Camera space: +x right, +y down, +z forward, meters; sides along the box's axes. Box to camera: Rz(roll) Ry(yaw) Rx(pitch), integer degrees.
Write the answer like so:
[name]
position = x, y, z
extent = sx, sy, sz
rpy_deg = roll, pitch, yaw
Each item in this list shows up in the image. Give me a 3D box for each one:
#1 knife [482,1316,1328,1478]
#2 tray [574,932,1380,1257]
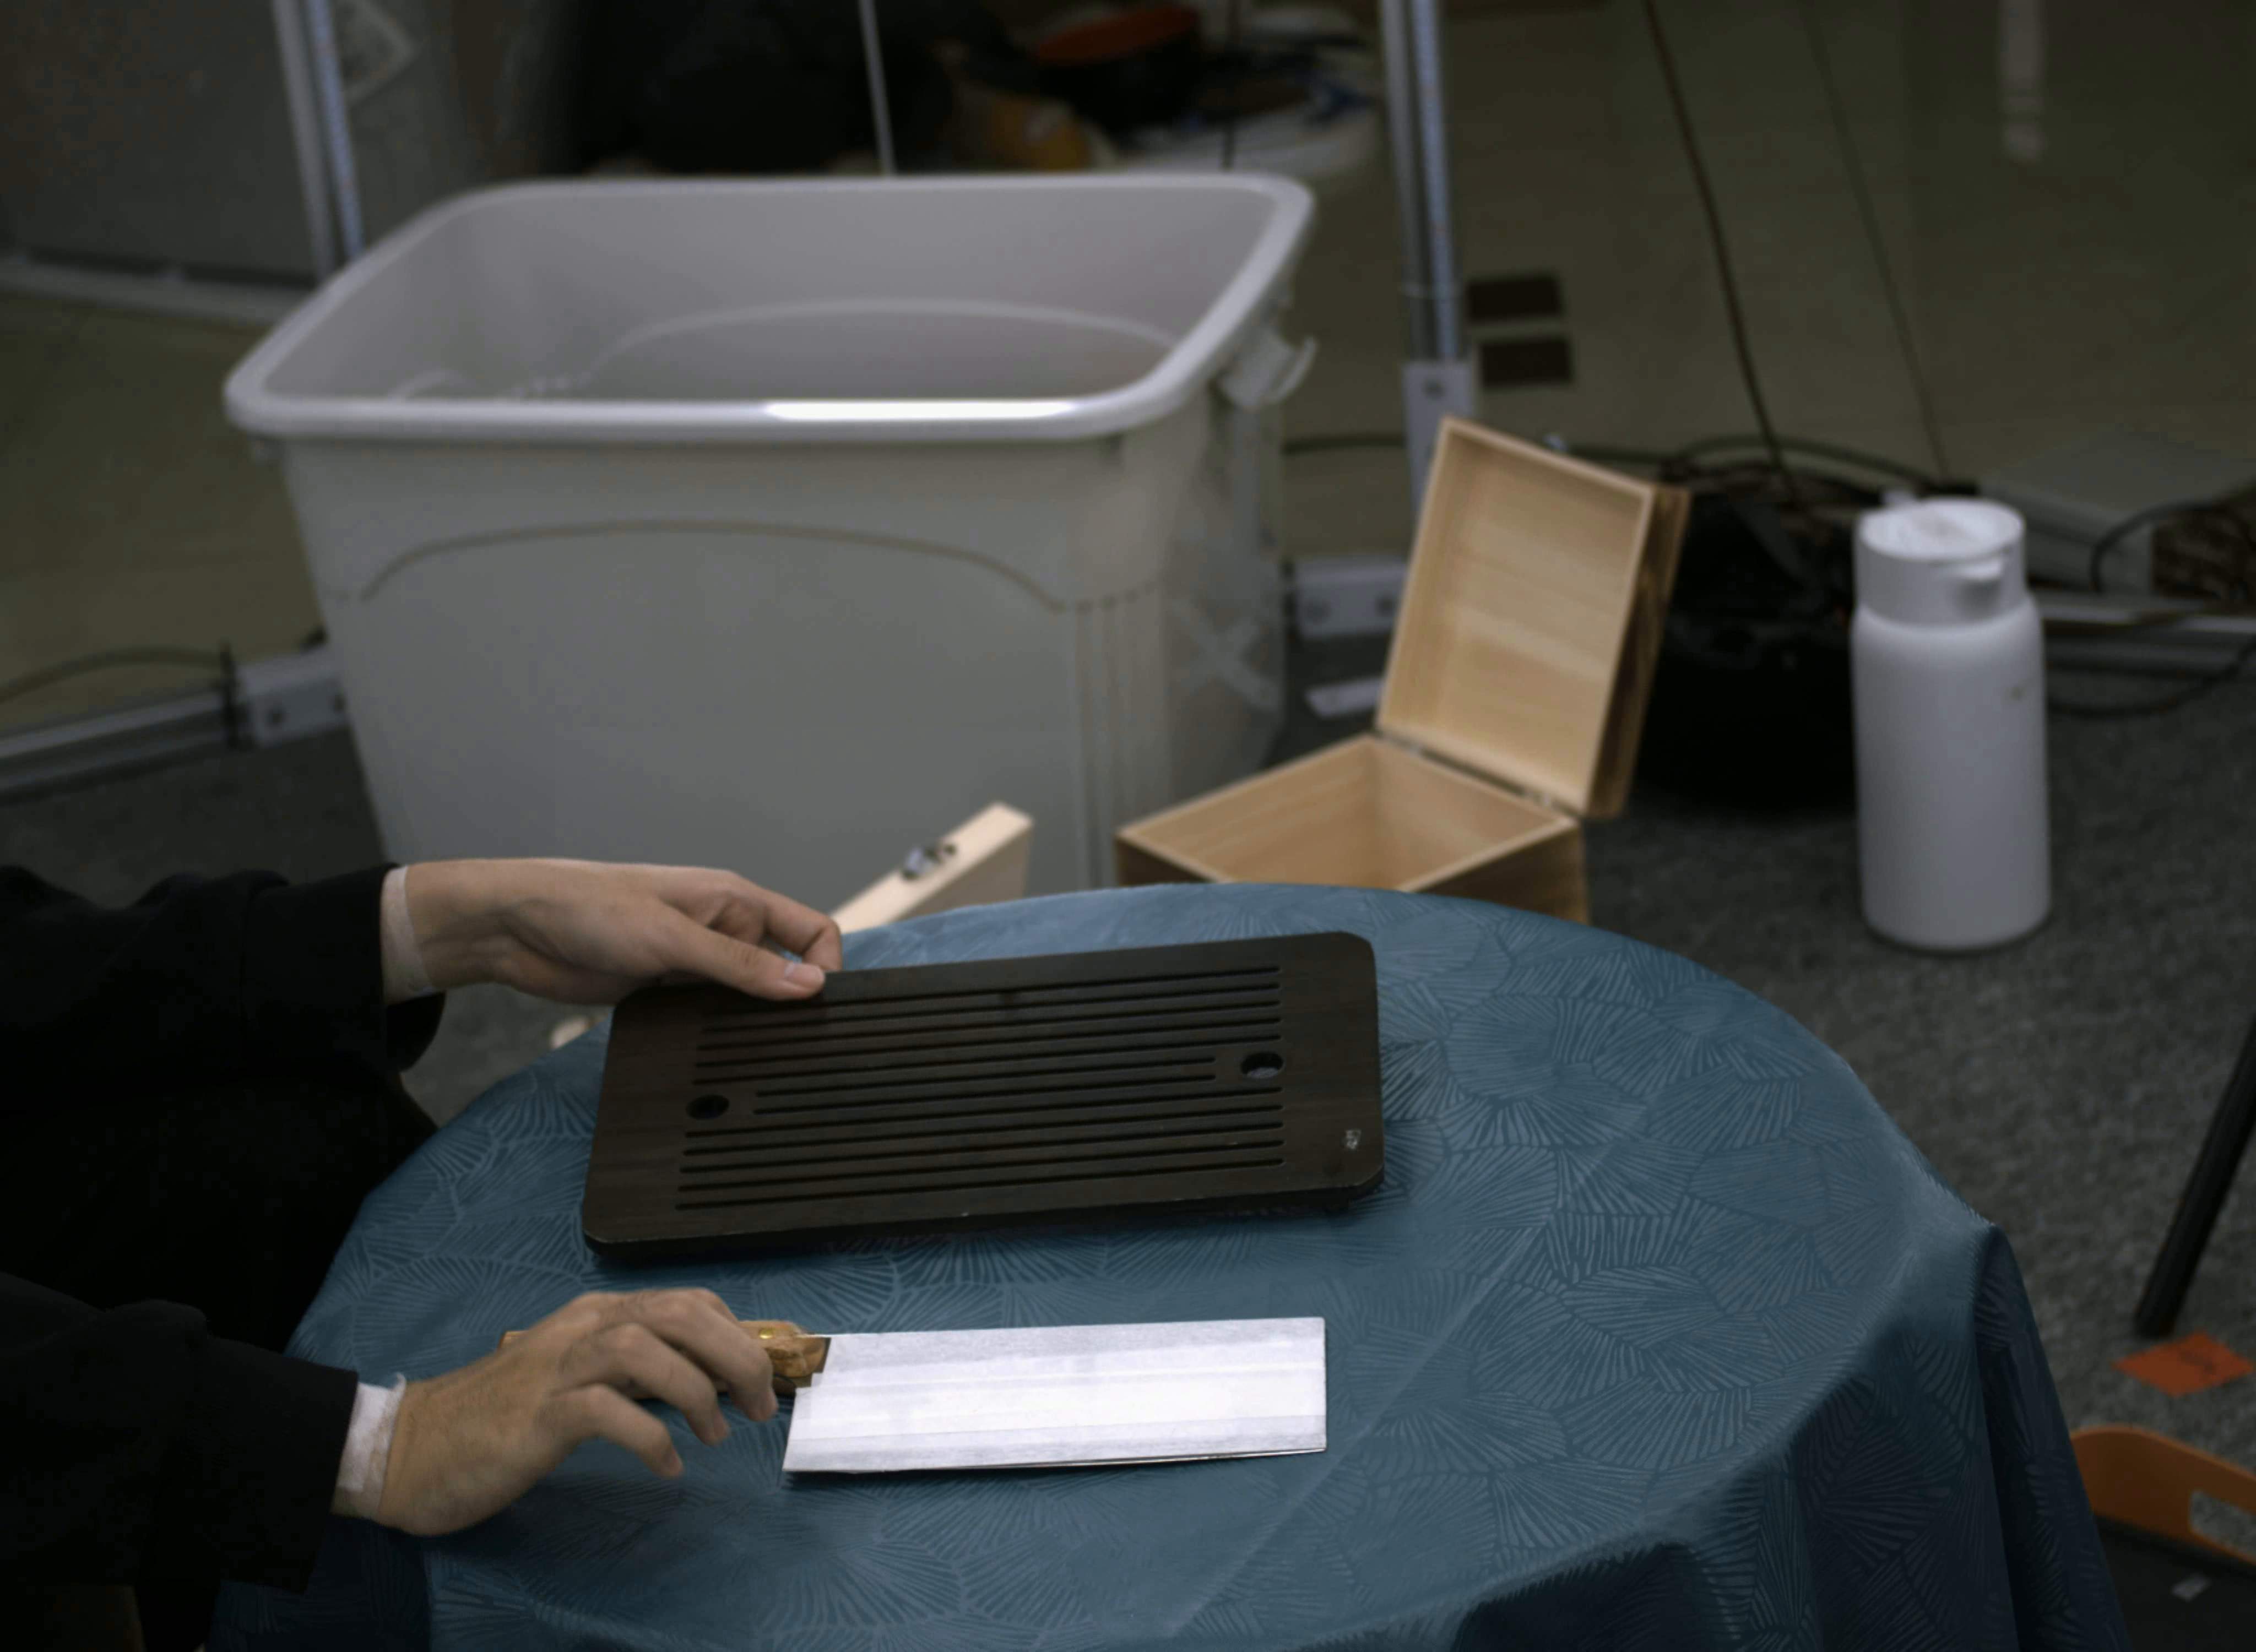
[knife]
position = -0.082, 0.203, 2.013
extent = 0.305, 0.021, 0.091
rpy_deg = -3, 27, 3
[tray]
position = -0.056, 0.104, 2.188
extent = 0.305, 0.019, 0.167
rpy_deg = -4, 33, 4
